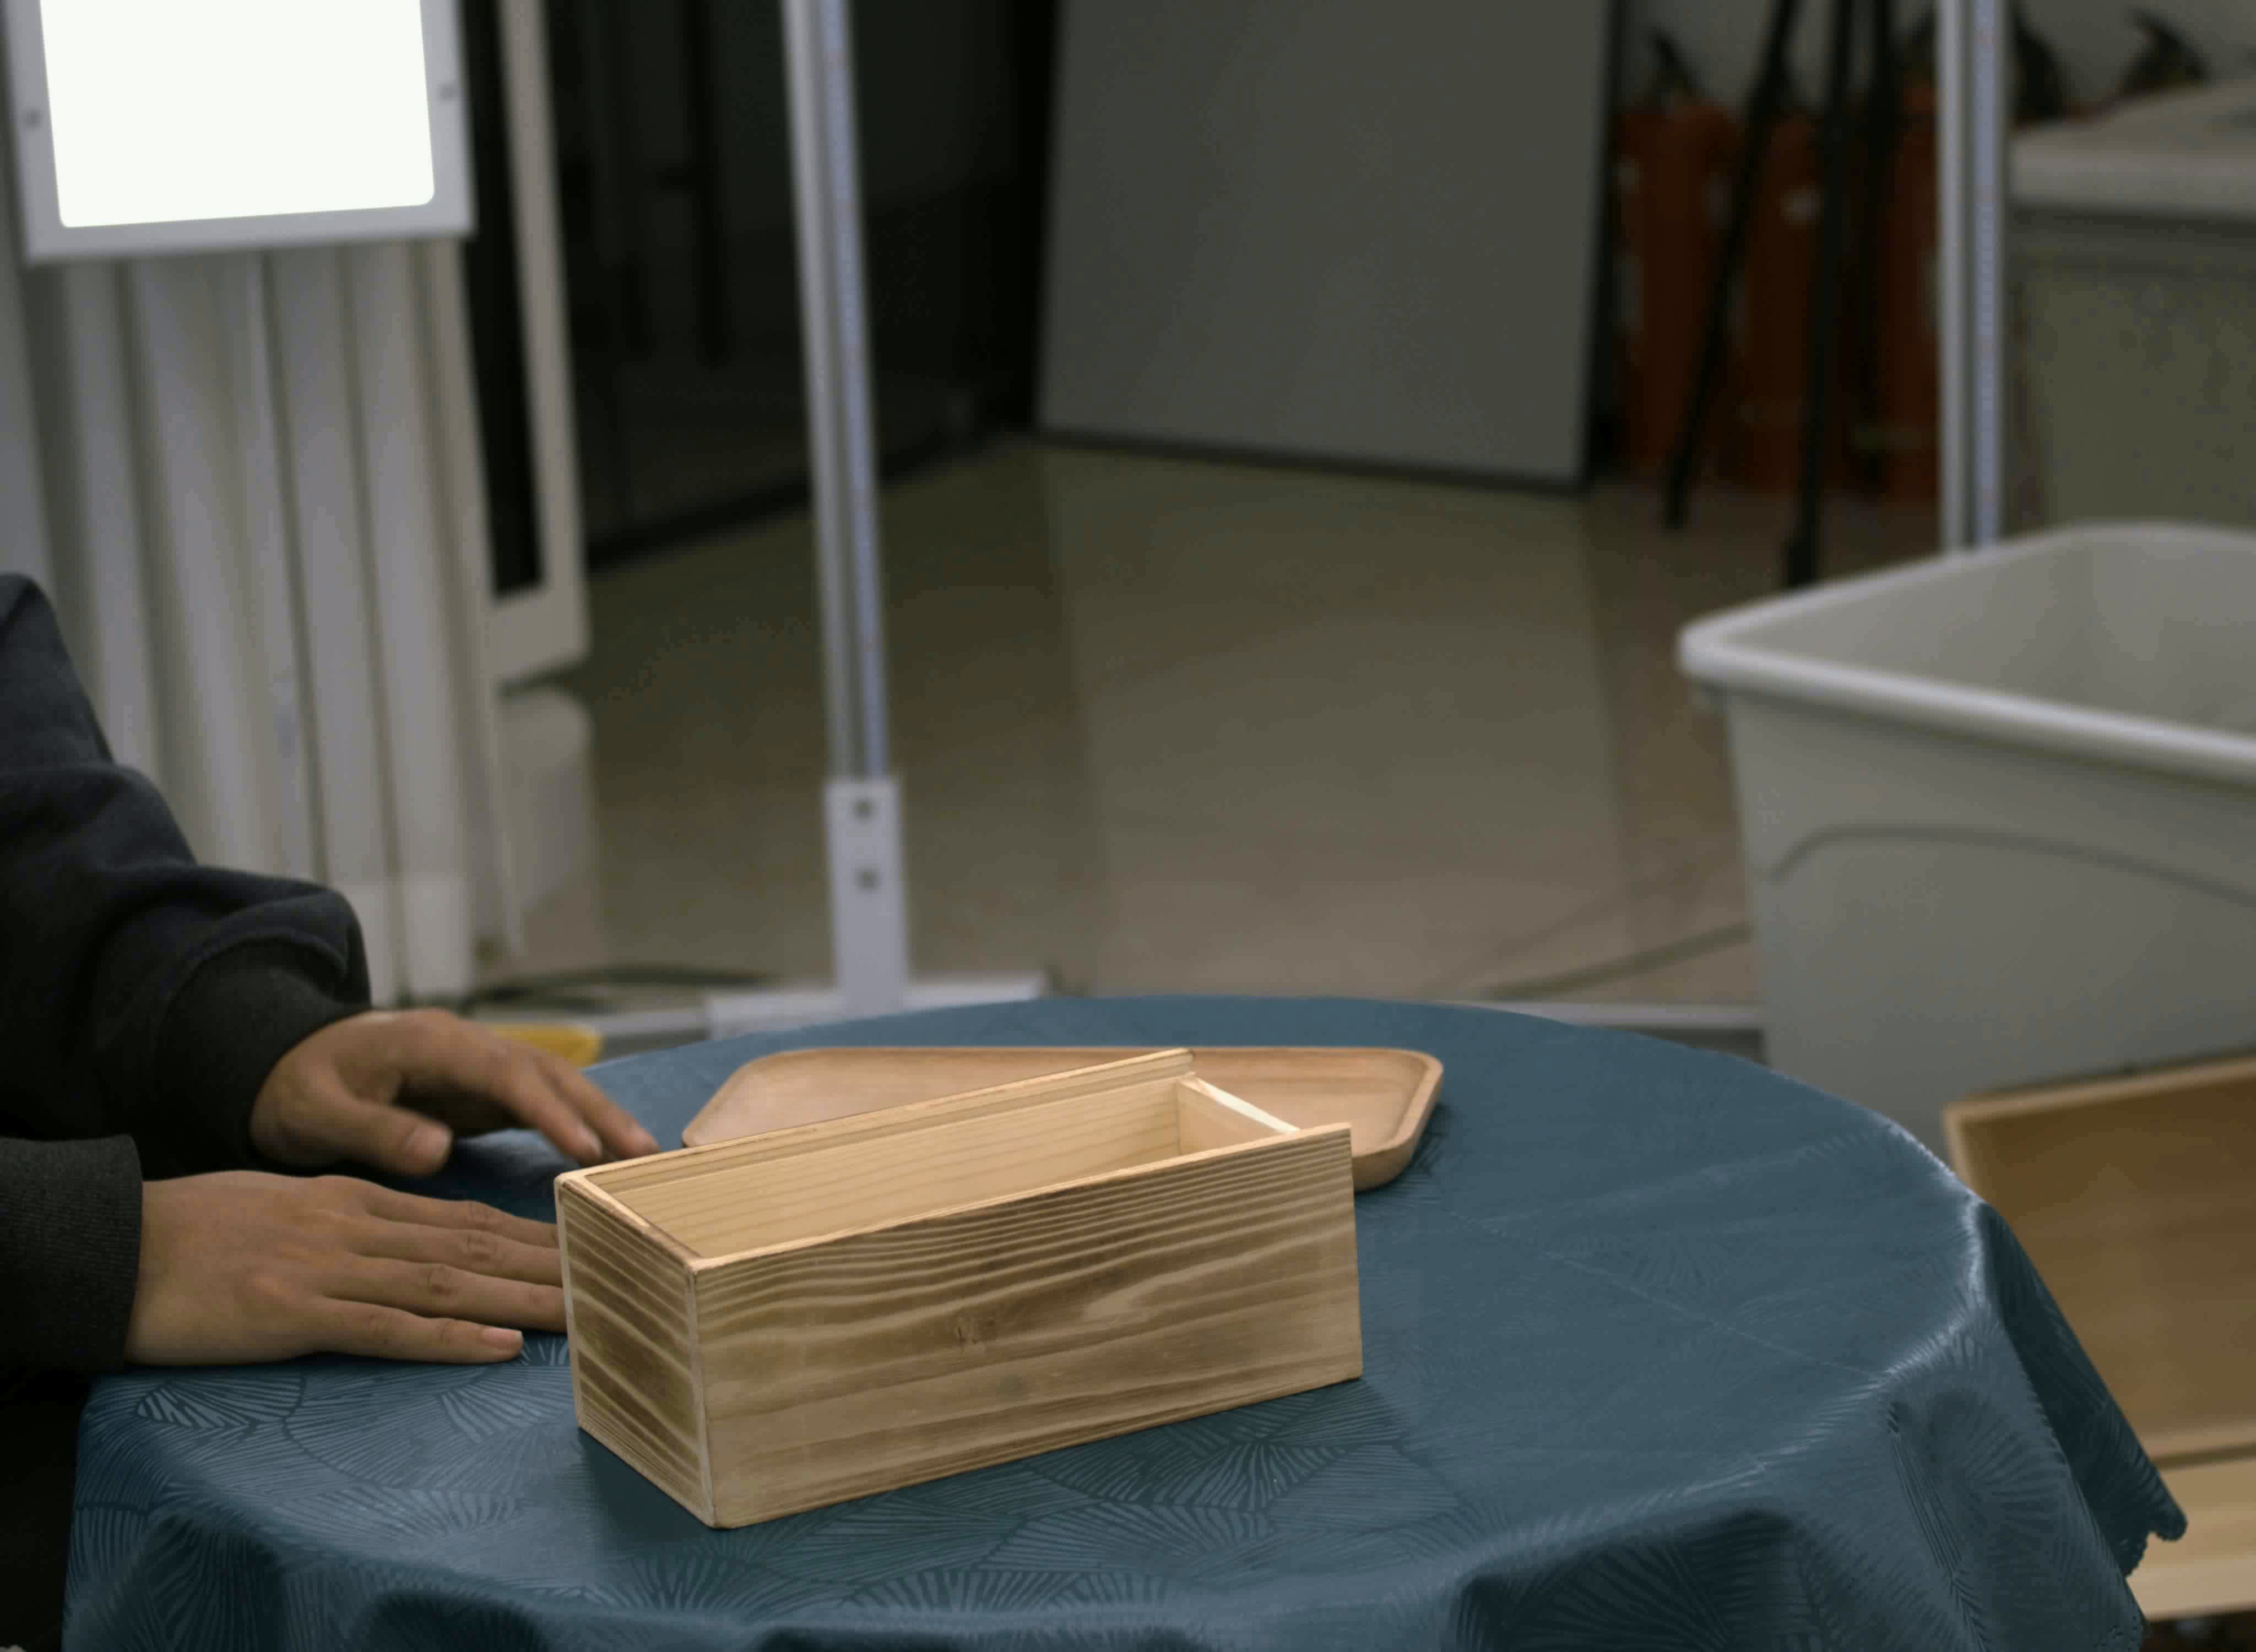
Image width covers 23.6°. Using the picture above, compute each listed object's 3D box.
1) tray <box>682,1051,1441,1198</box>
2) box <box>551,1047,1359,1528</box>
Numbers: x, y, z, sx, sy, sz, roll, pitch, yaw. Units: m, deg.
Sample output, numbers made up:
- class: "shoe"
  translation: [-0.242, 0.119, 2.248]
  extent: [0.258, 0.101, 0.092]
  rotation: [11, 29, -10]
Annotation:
- class: "tray"
  translation: [-0.021, 0.101, 1.823]
  extent: [0.249, 0.023, 0.130]
  rotation: [-1, 11, 14]
- class: "box"
  translation: [-0.050, 0.131, 1.574]
  extent: [0.207, 0.081, 0.108]
  rotation: [-10, 15, -25]
